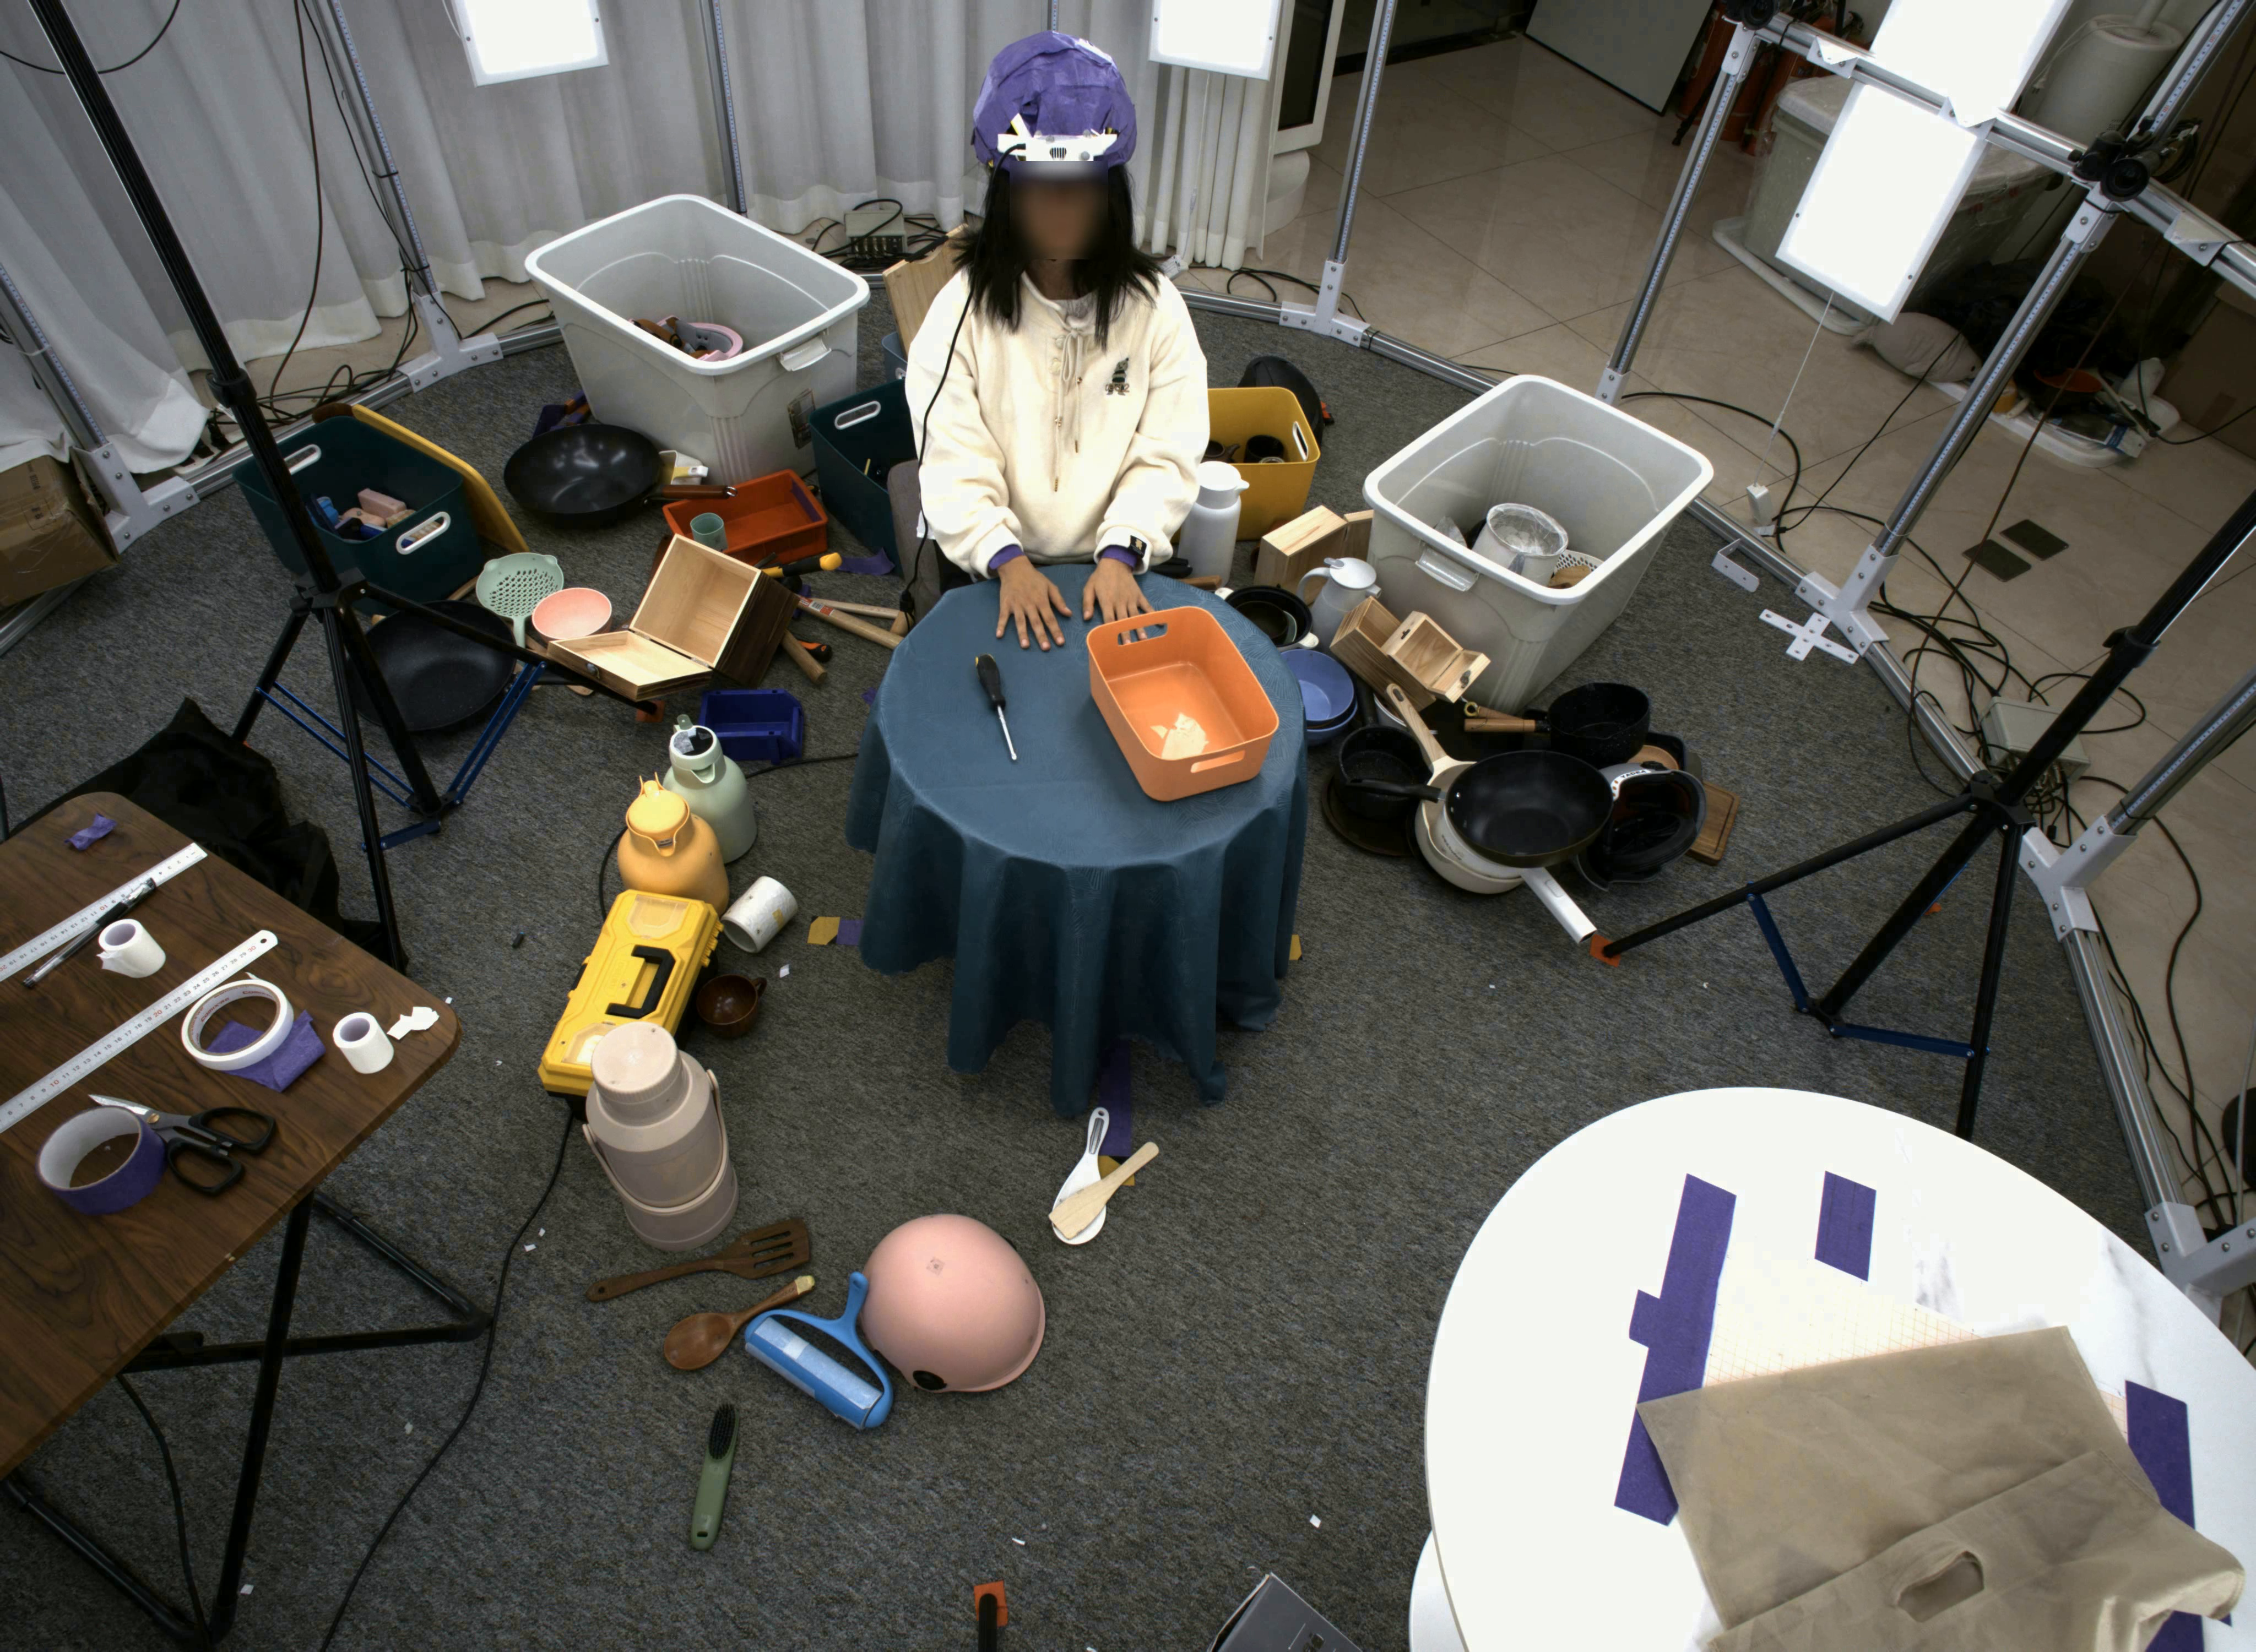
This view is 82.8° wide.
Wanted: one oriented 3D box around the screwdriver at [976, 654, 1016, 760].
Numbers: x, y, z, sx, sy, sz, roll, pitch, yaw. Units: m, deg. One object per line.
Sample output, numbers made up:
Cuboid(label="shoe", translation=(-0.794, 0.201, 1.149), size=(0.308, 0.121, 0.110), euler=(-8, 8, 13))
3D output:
Cuboid(label="screwdriver", translation=(-0.184, -0.165, 1.788), size=(0.031, 0.031, 0.201), euler=(-8, 54, -11))

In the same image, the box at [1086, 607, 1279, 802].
Cuboid(label="box", translation=(0.069, -0.166, 1.751), size=(0.199, 0.100, 0.279), euler=(-16, 52, -16))
